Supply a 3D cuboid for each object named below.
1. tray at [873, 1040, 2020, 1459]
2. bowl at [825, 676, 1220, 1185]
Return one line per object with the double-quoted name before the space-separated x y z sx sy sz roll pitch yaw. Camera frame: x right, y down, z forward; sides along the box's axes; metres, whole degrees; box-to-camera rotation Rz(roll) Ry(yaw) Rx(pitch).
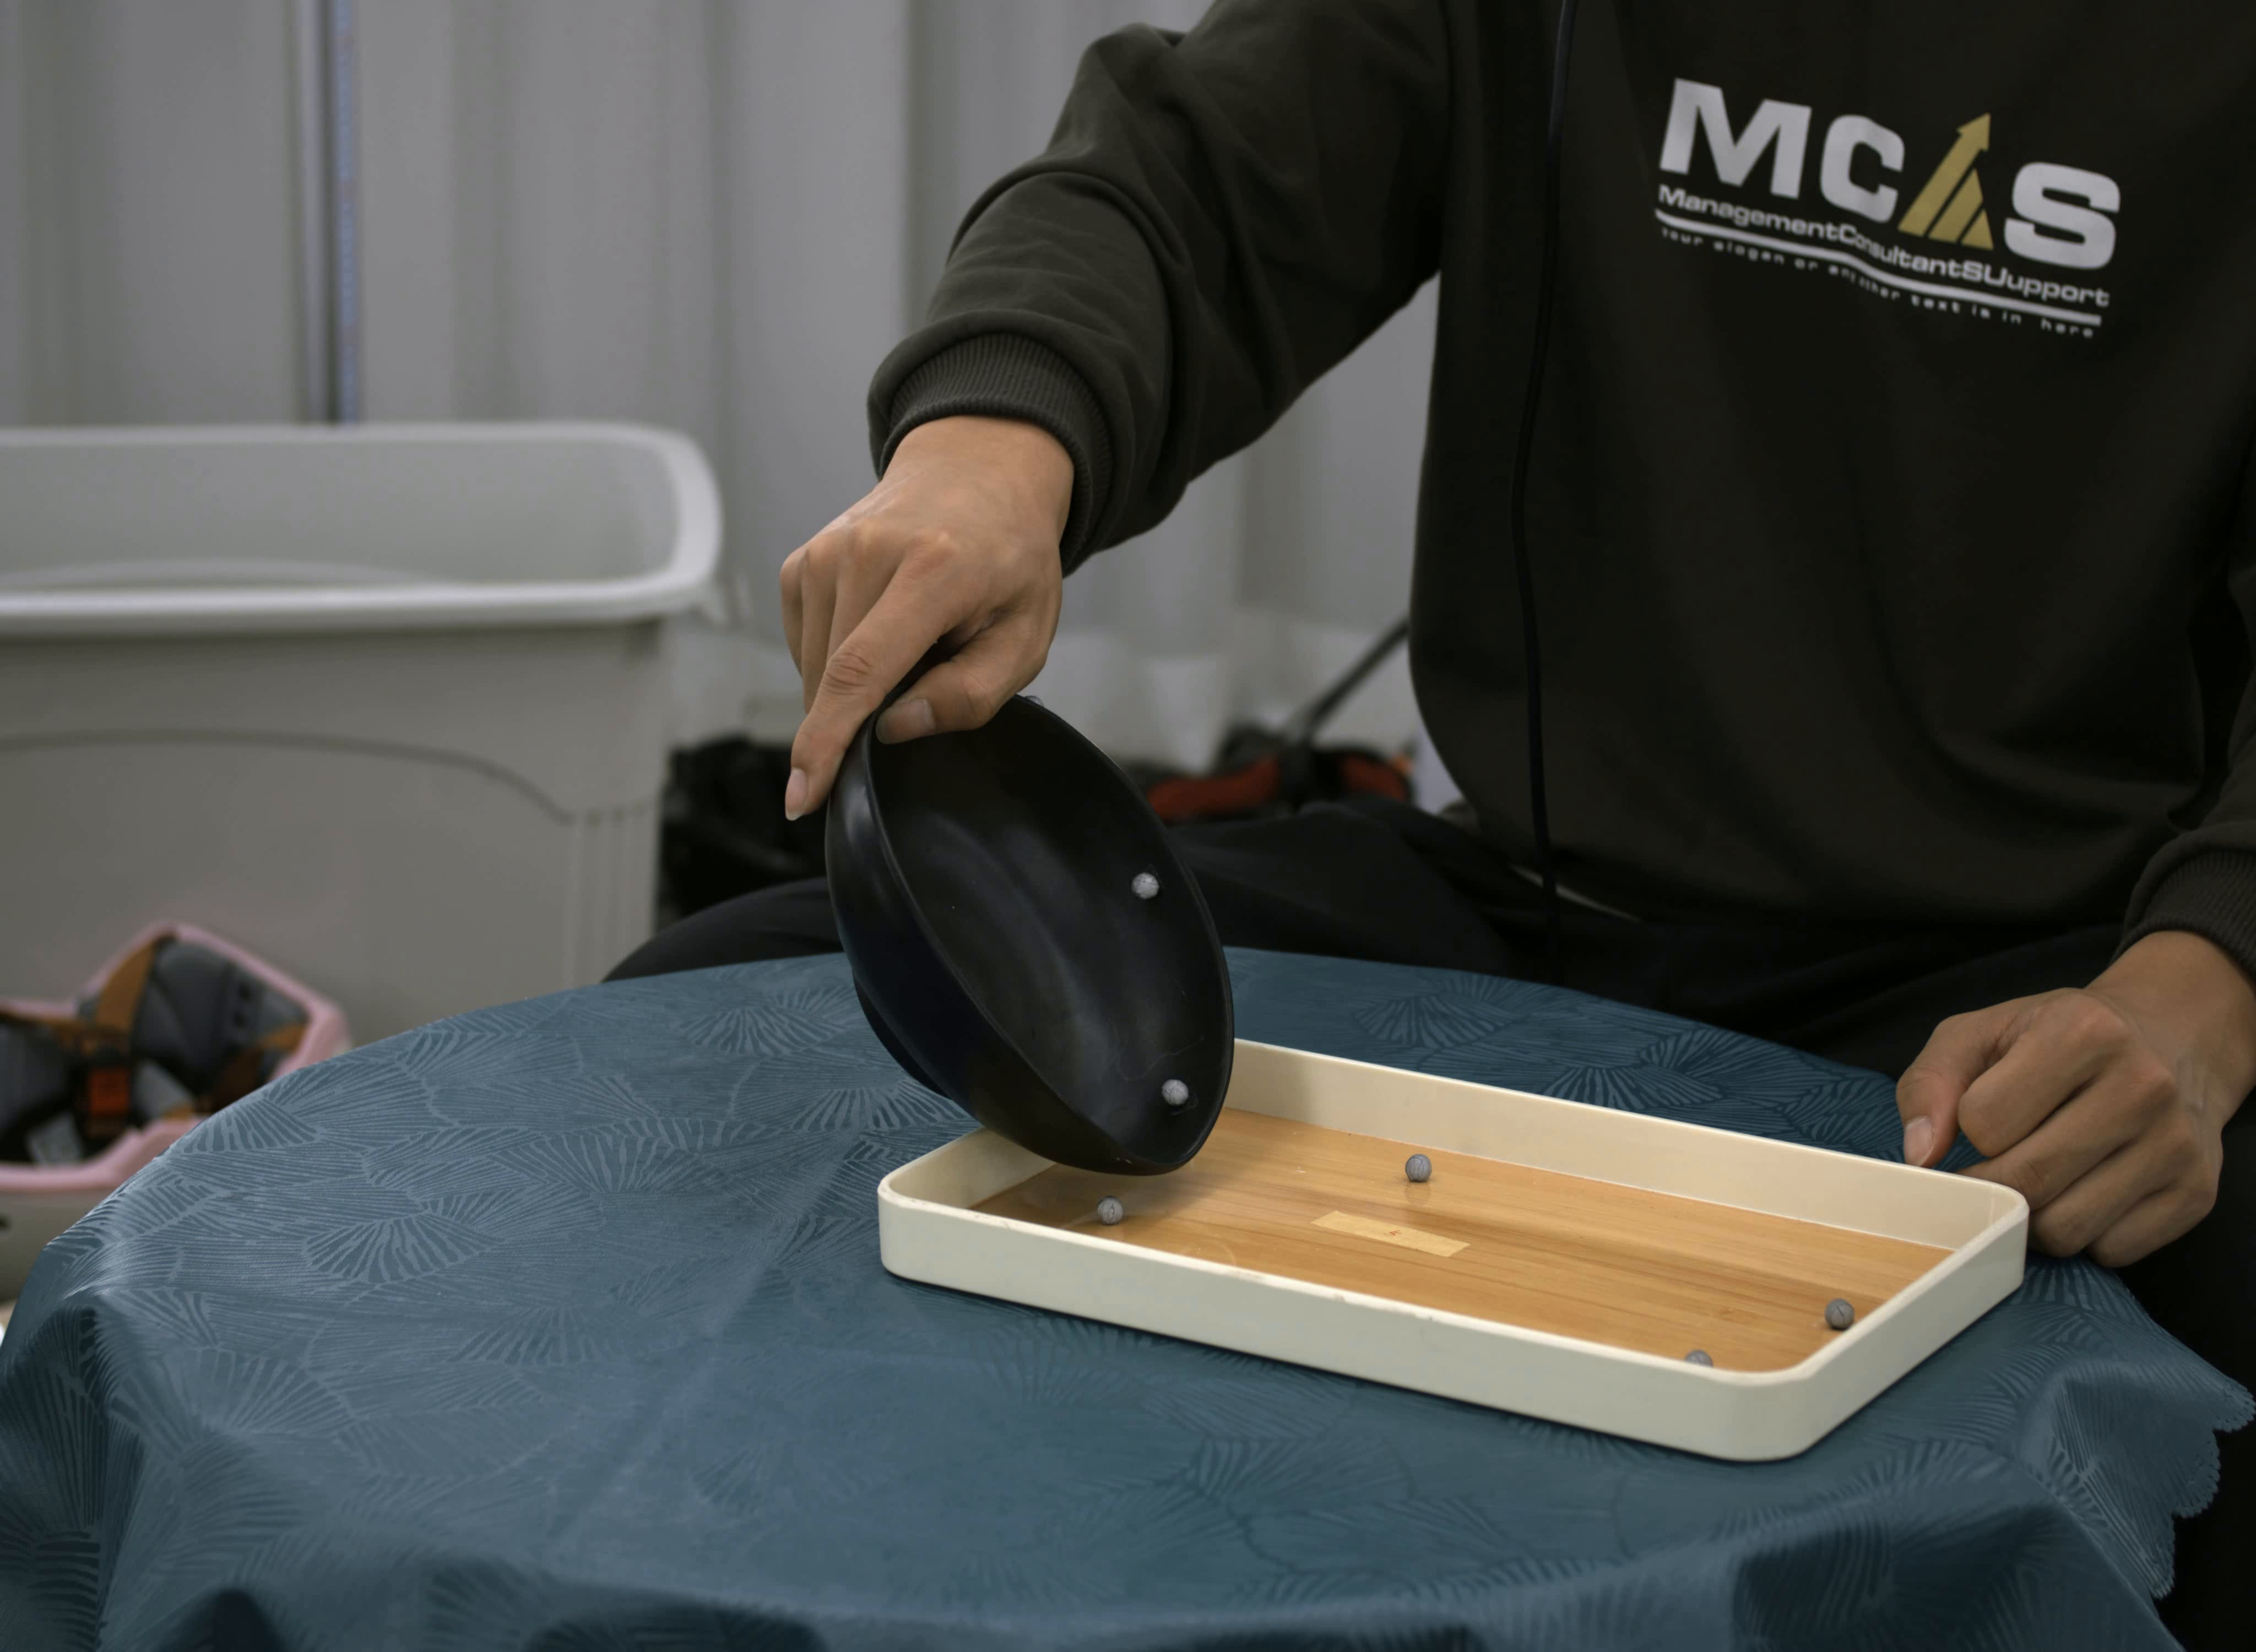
"tray" 0.094 0.120 1.559 0.297 0.027 0.192 9 17 29
"bowl" -0.041 0.039 1.614 0.066 0.170 0.137 -32 2 35
